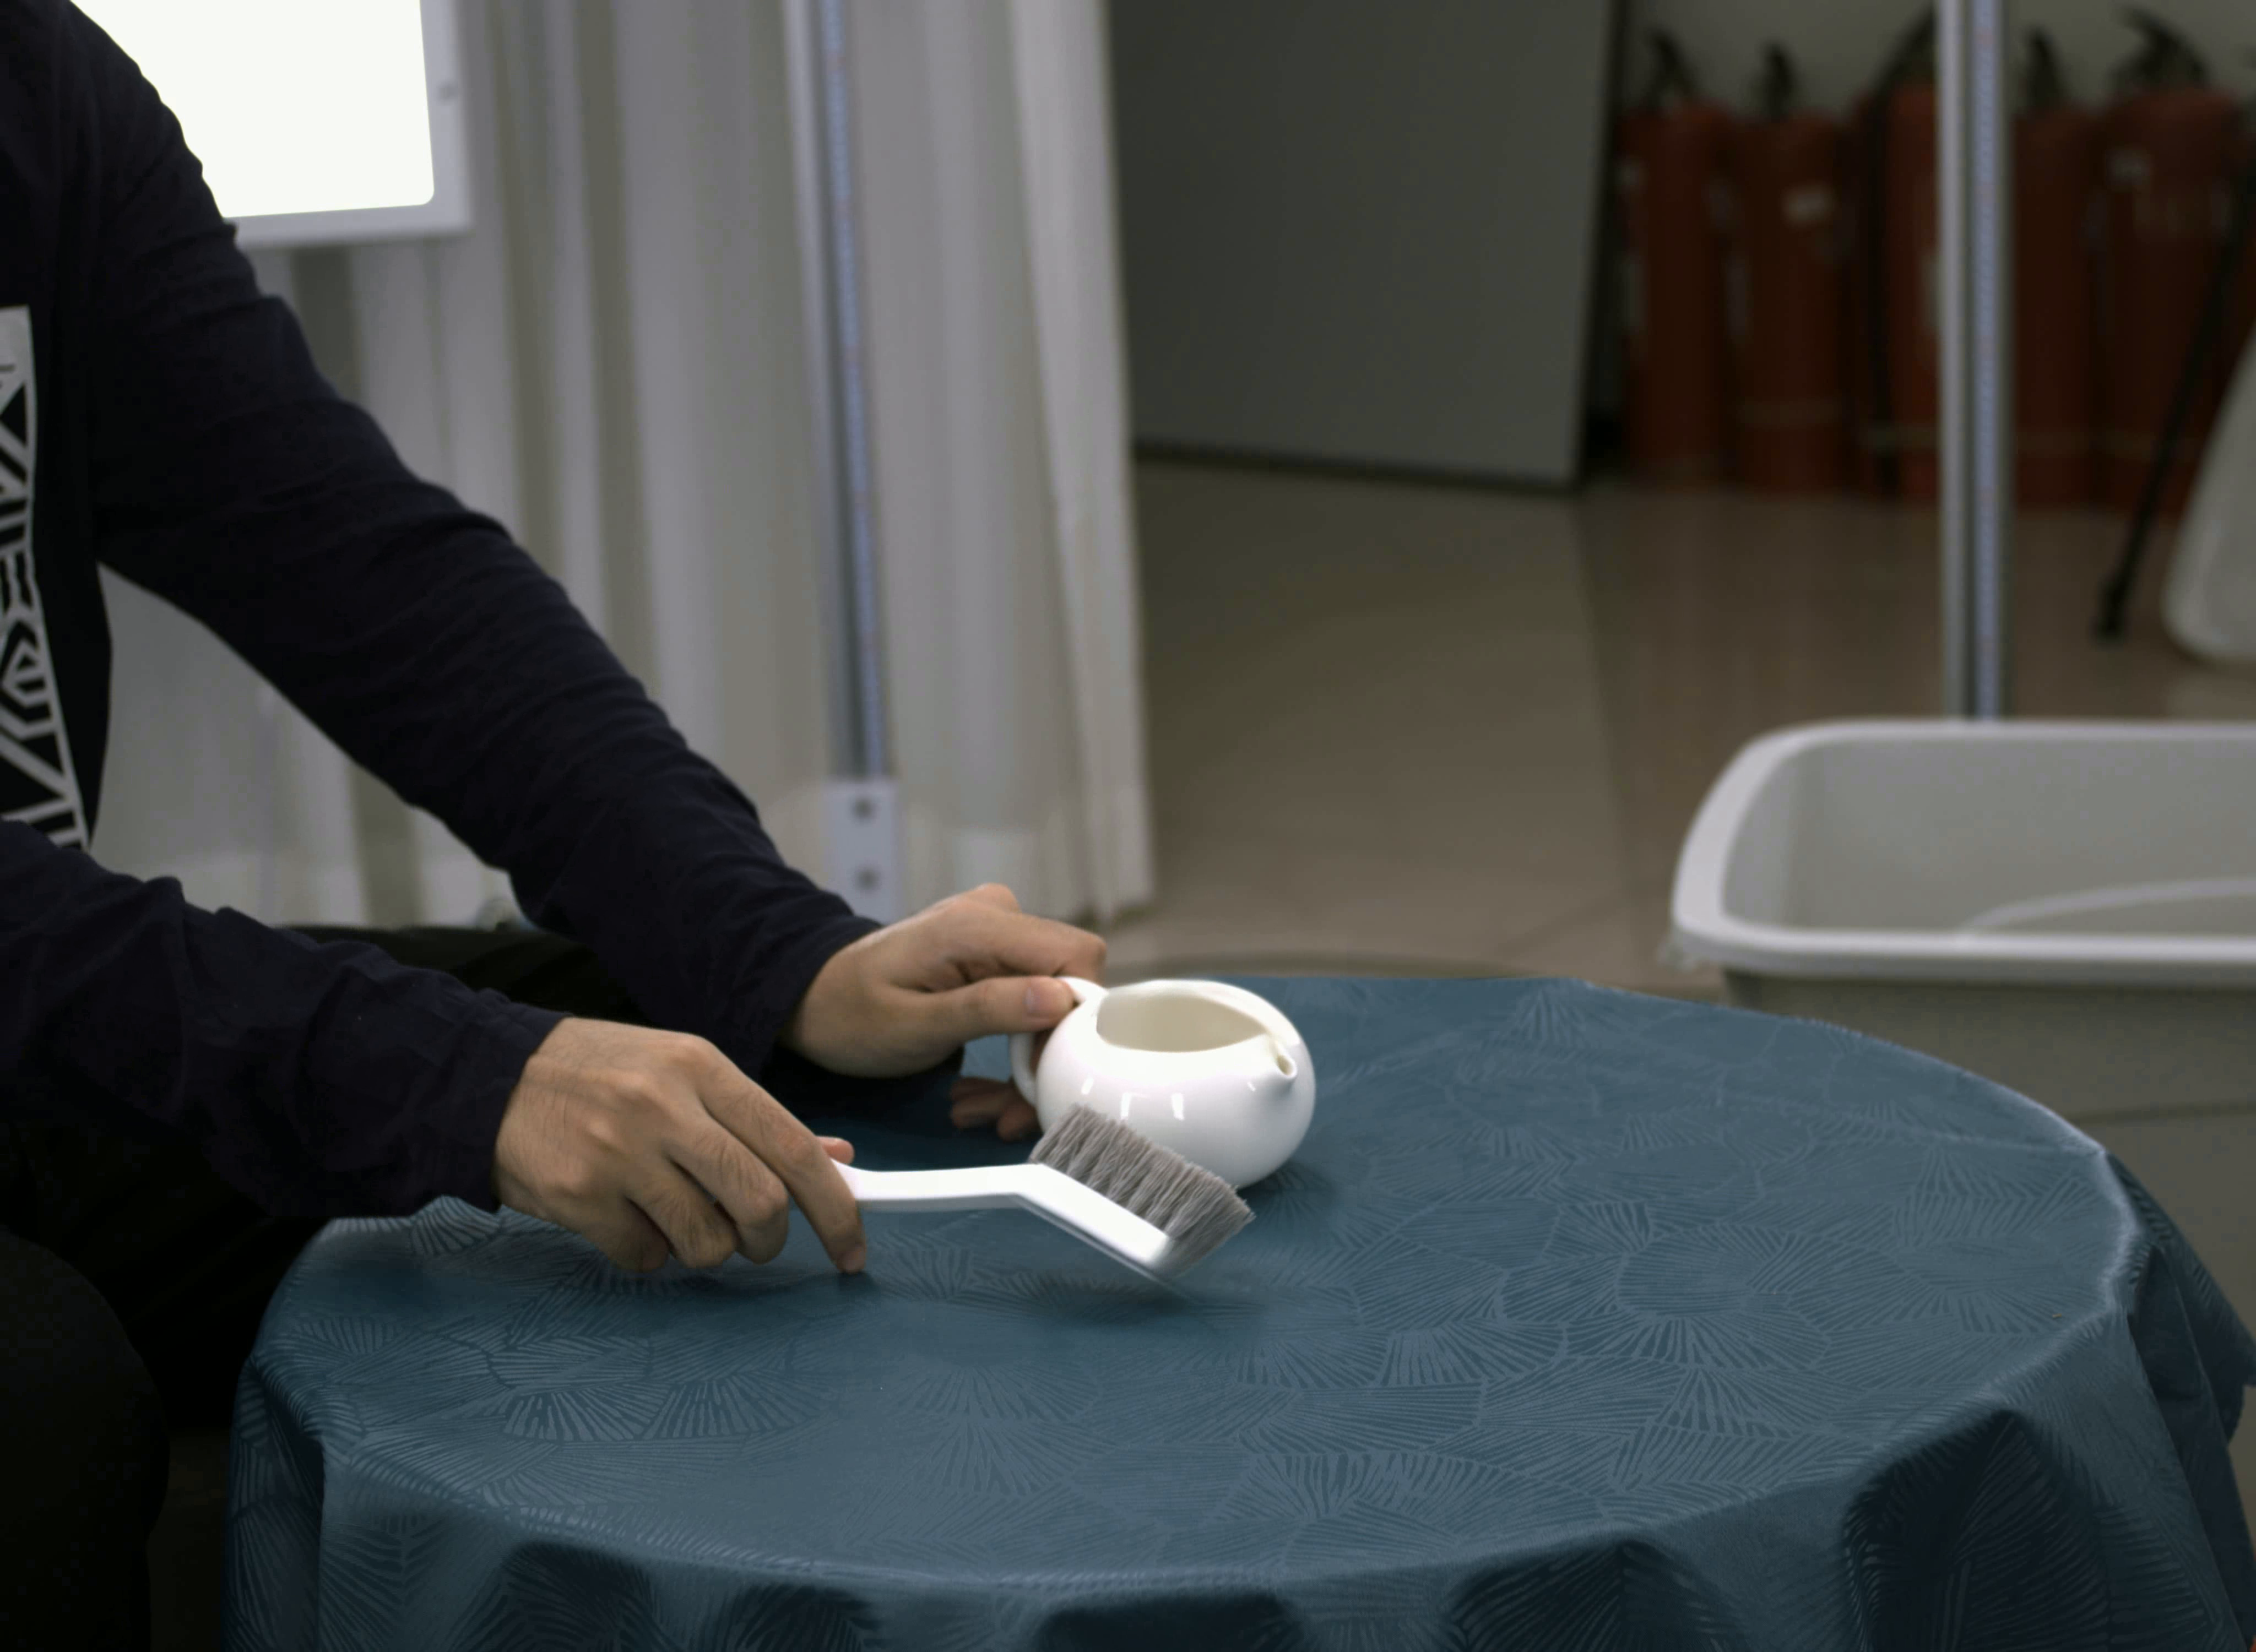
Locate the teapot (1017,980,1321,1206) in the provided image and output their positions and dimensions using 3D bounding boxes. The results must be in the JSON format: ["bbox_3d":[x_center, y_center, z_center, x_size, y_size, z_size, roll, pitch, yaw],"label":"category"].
[{"bbox_3d":[0.009,0.086,1.783,0.128,0.057,0.092,15,31,38],"label":"teapot"}]

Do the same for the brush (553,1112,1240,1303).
[{"bbox_3d":[-0.076,0.107,1.708,0.244,0.051,0.034,8,-12,30],"label":"brush"}]
